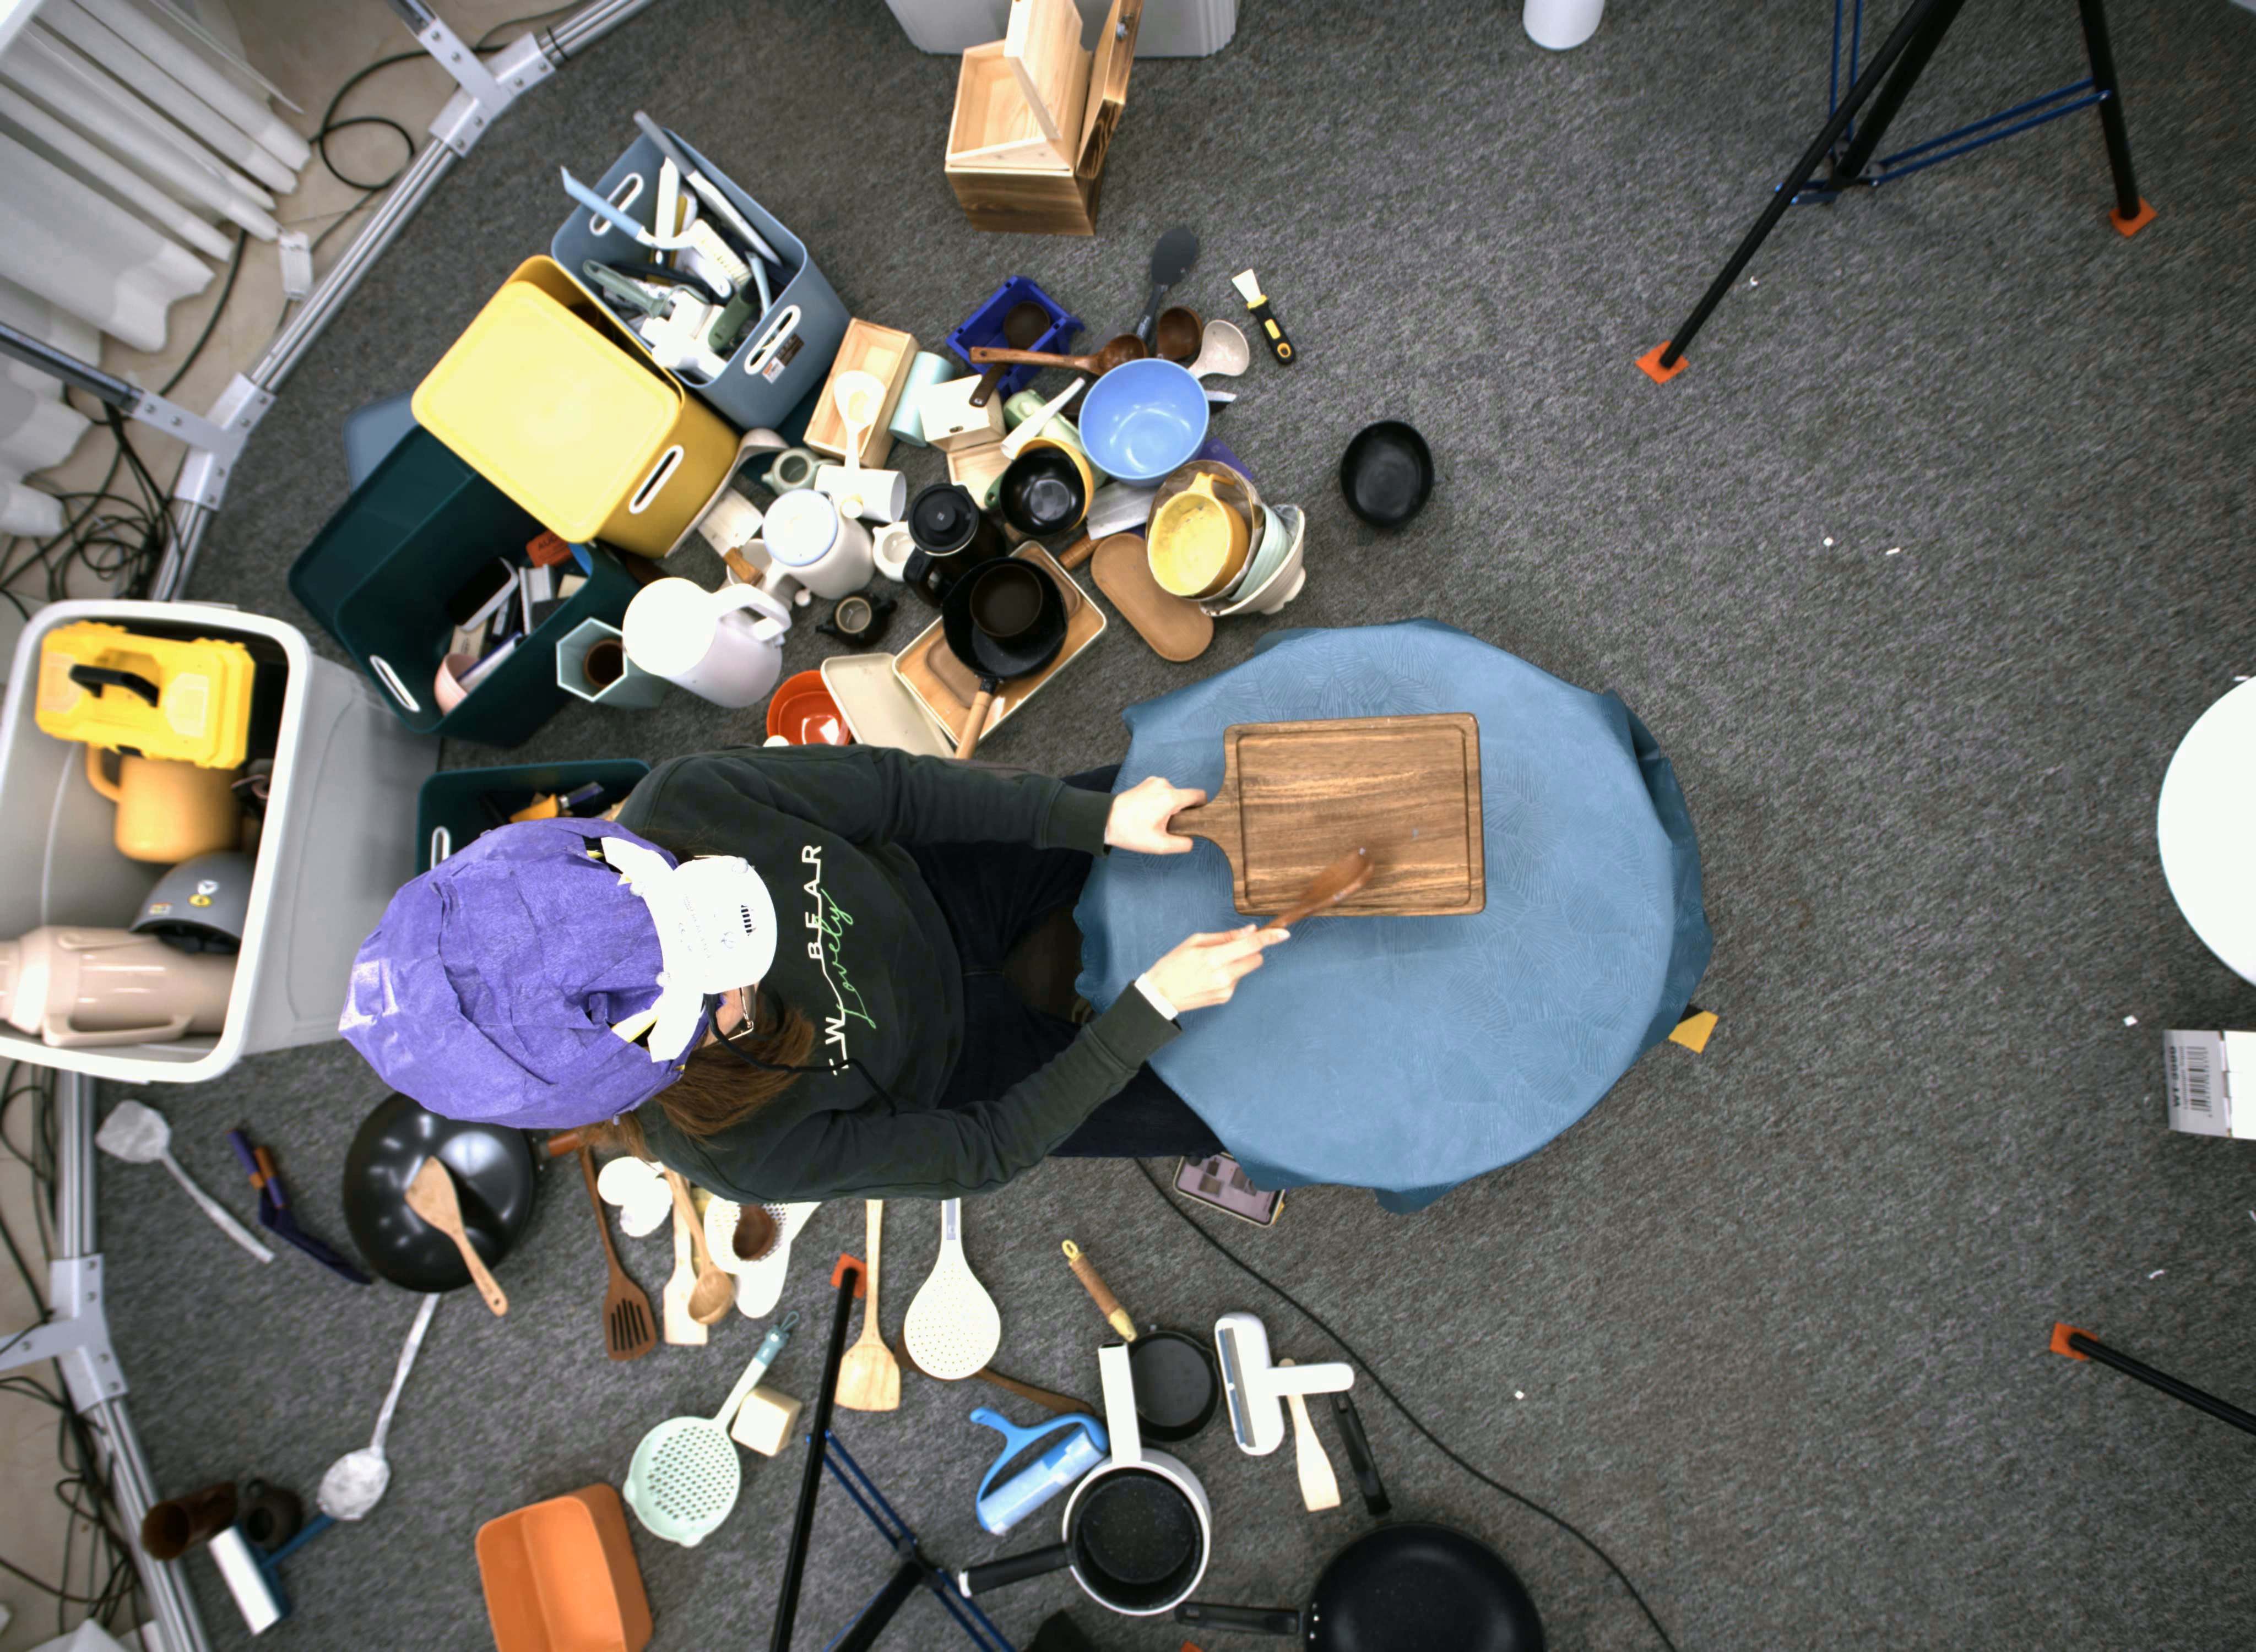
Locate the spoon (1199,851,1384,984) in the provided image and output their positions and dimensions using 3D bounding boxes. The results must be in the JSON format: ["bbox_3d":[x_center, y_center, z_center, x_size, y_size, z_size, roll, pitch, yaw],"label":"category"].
[{"bbox_3d":[0.160,0.091,1.354,0.218,0.074,0.017,-34,110,12],"label":"spoon"}]

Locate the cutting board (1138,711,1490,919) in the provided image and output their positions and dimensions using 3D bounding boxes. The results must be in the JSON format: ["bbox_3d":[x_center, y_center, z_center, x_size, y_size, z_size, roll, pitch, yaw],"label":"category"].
[{"bbox_3d":[0.178,-0.007,1.383,0.354,0.023,0.202,-2,101,20],"label":"cutting board"}]
